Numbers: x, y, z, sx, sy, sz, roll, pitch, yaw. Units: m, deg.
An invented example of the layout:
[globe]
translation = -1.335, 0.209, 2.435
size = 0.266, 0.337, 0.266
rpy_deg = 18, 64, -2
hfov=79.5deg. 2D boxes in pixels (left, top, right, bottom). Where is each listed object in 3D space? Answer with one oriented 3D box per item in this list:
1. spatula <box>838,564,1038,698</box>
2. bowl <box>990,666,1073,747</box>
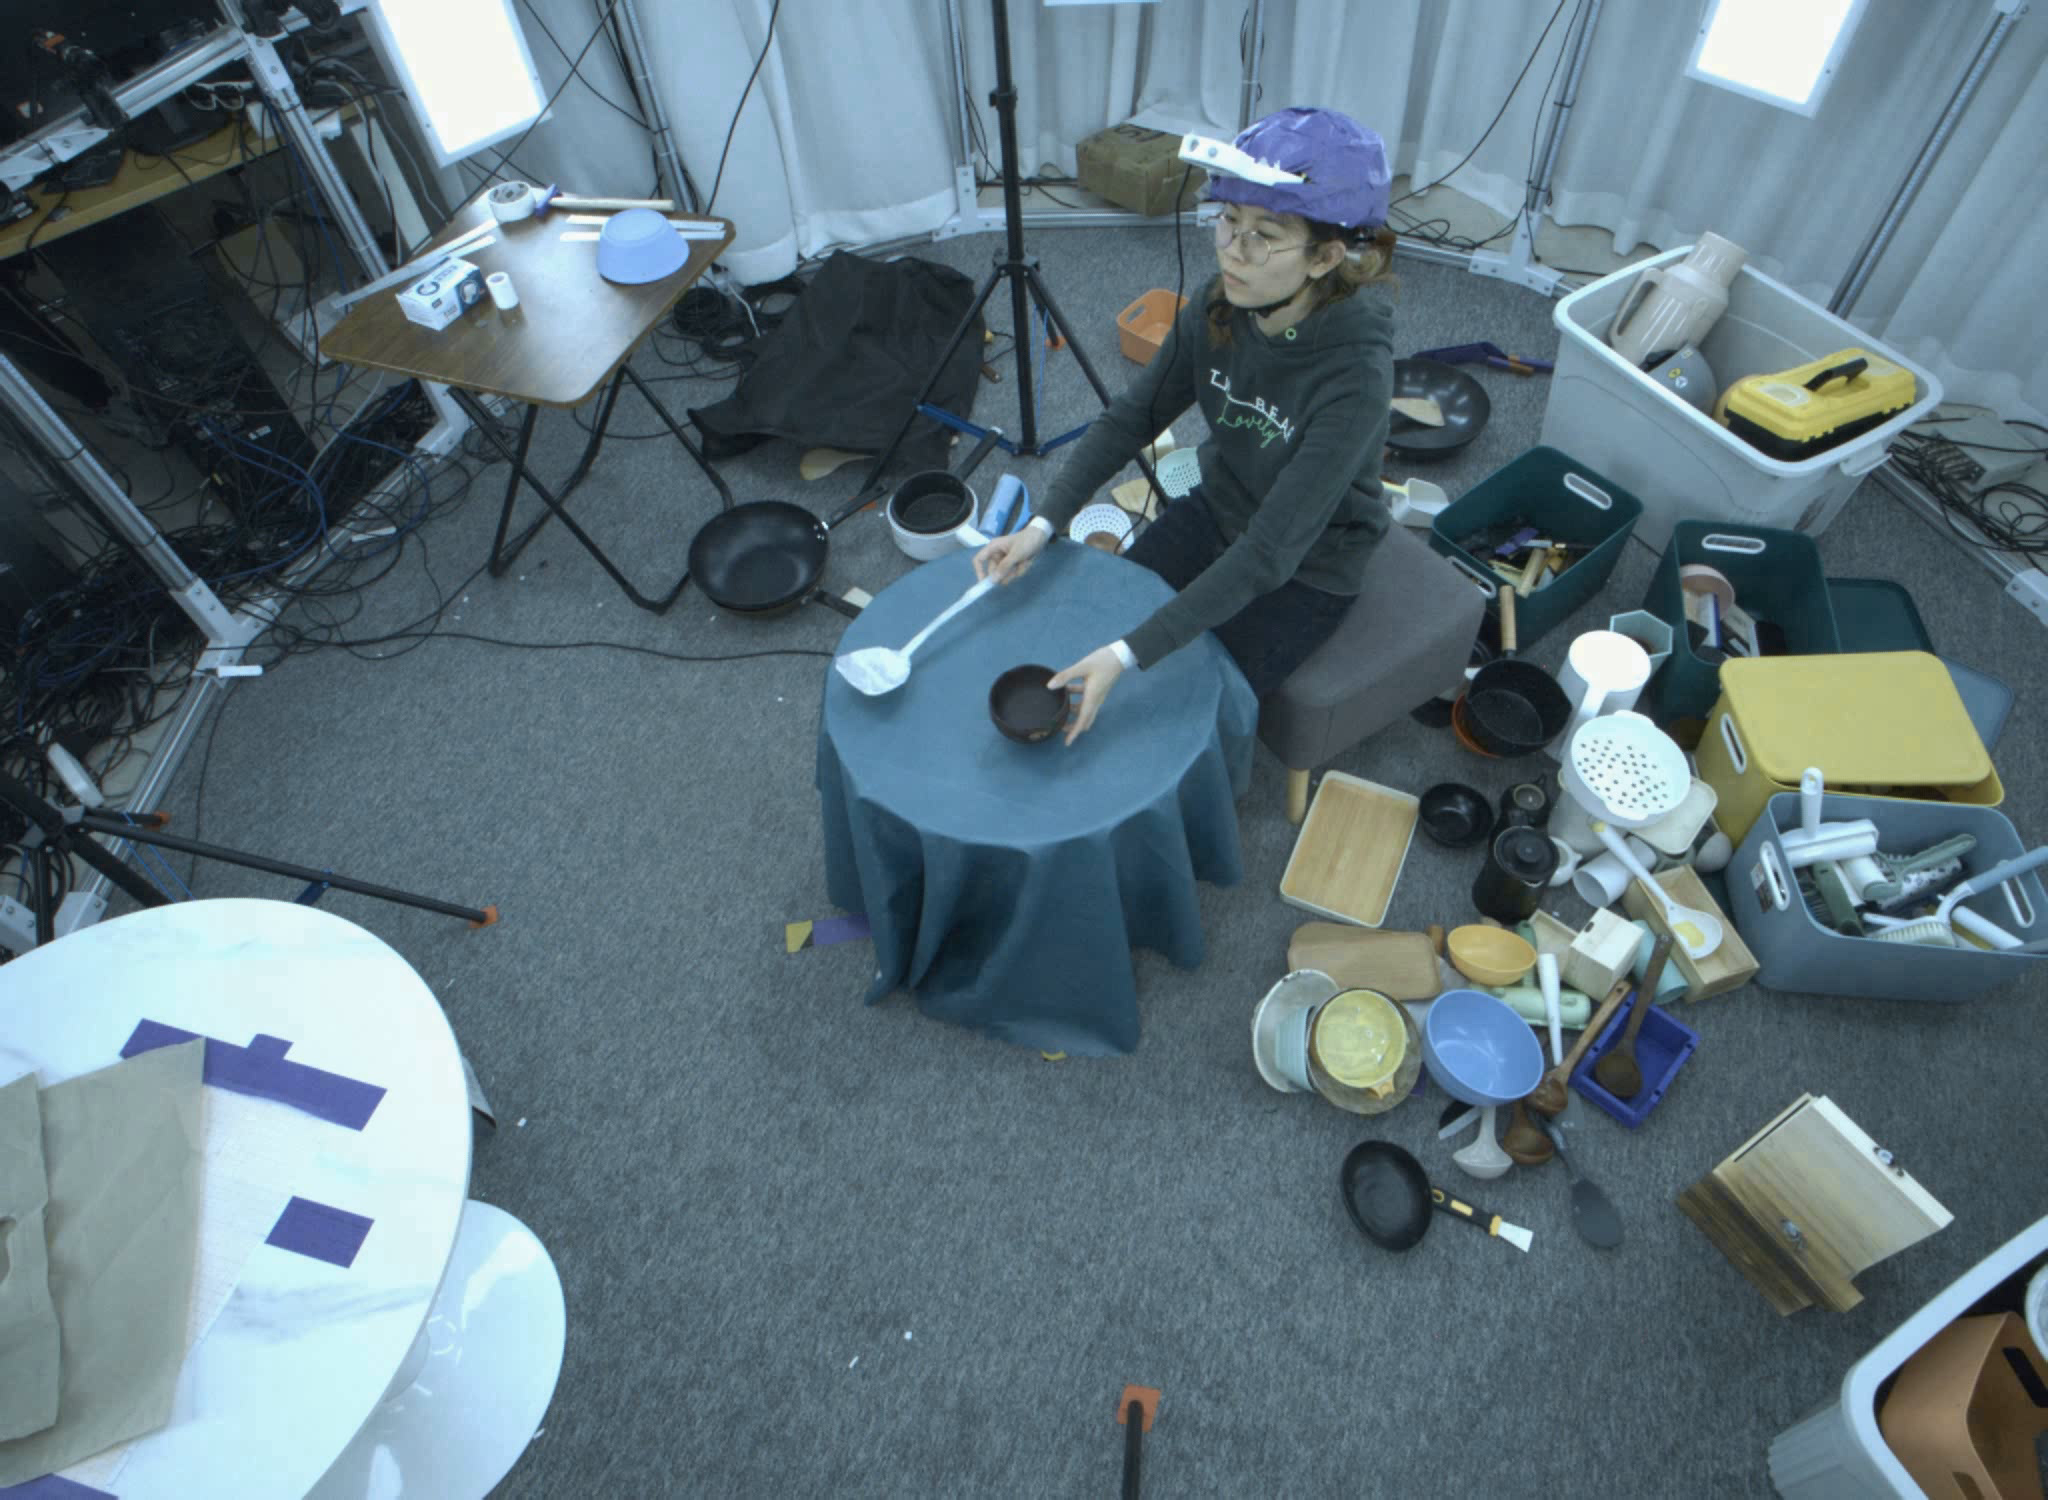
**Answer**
[spatula]
translation = -0.121, -0.197, 1.876
size = 0.367, 0.045, 0.097
rpy_deg = -40, 63, -17
[bowl]
translation = 0.012, -0.055, 1.768
size = 0.118, 0.070, 0.117
rpy_deg = -1, 58, 3
